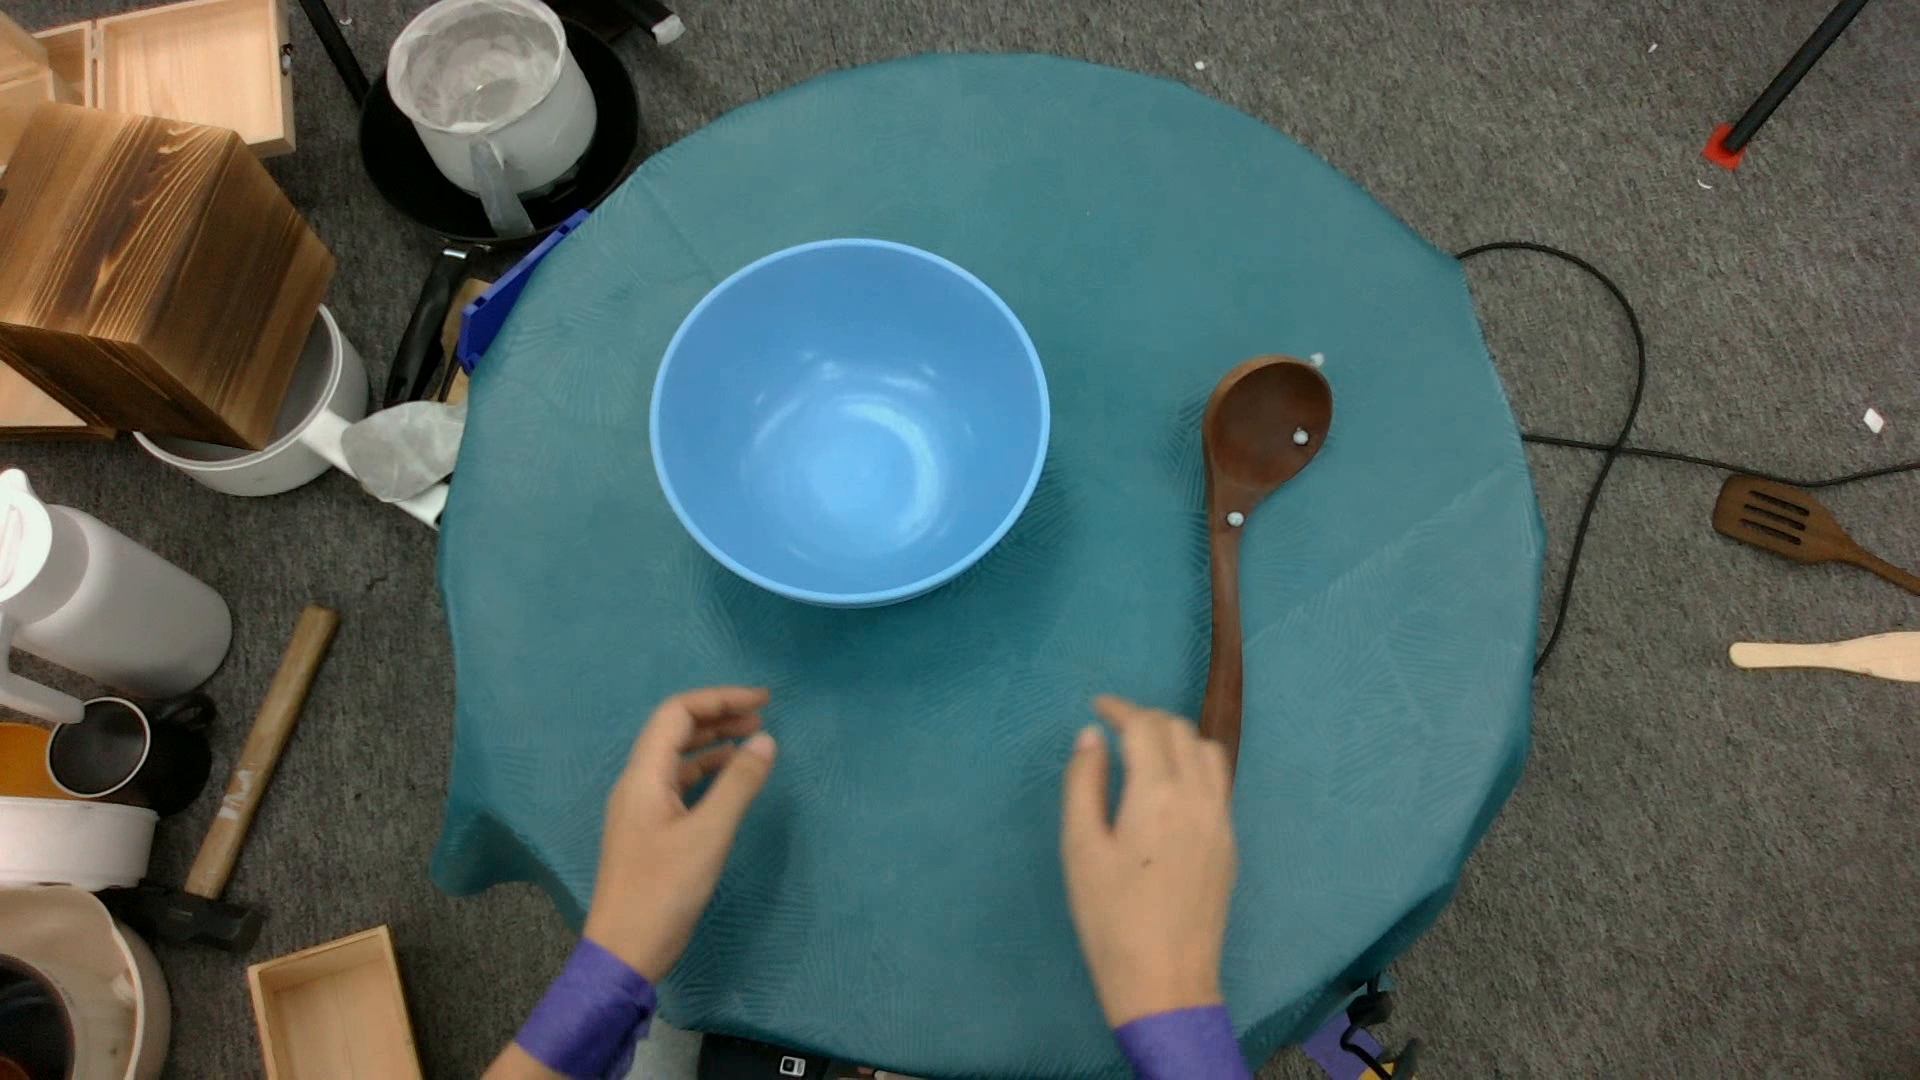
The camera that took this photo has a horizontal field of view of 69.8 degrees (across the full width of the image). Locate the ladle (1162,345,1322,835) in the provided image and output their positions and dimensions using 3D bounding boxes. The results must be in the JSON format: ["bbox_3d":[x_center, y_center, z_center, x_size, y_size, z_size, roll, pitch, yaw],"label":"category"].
[{"bbox_3d":[0.143,0.021,0.714,0.076,0.065,0.261,19,68,-24],"label":"ladle"}]

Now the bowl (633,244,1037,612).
[{"bbox_3d":[-0.065,-0.045,0.713,0.196,0.095,0.197,3,67,-7],"label":"bowl"}]
